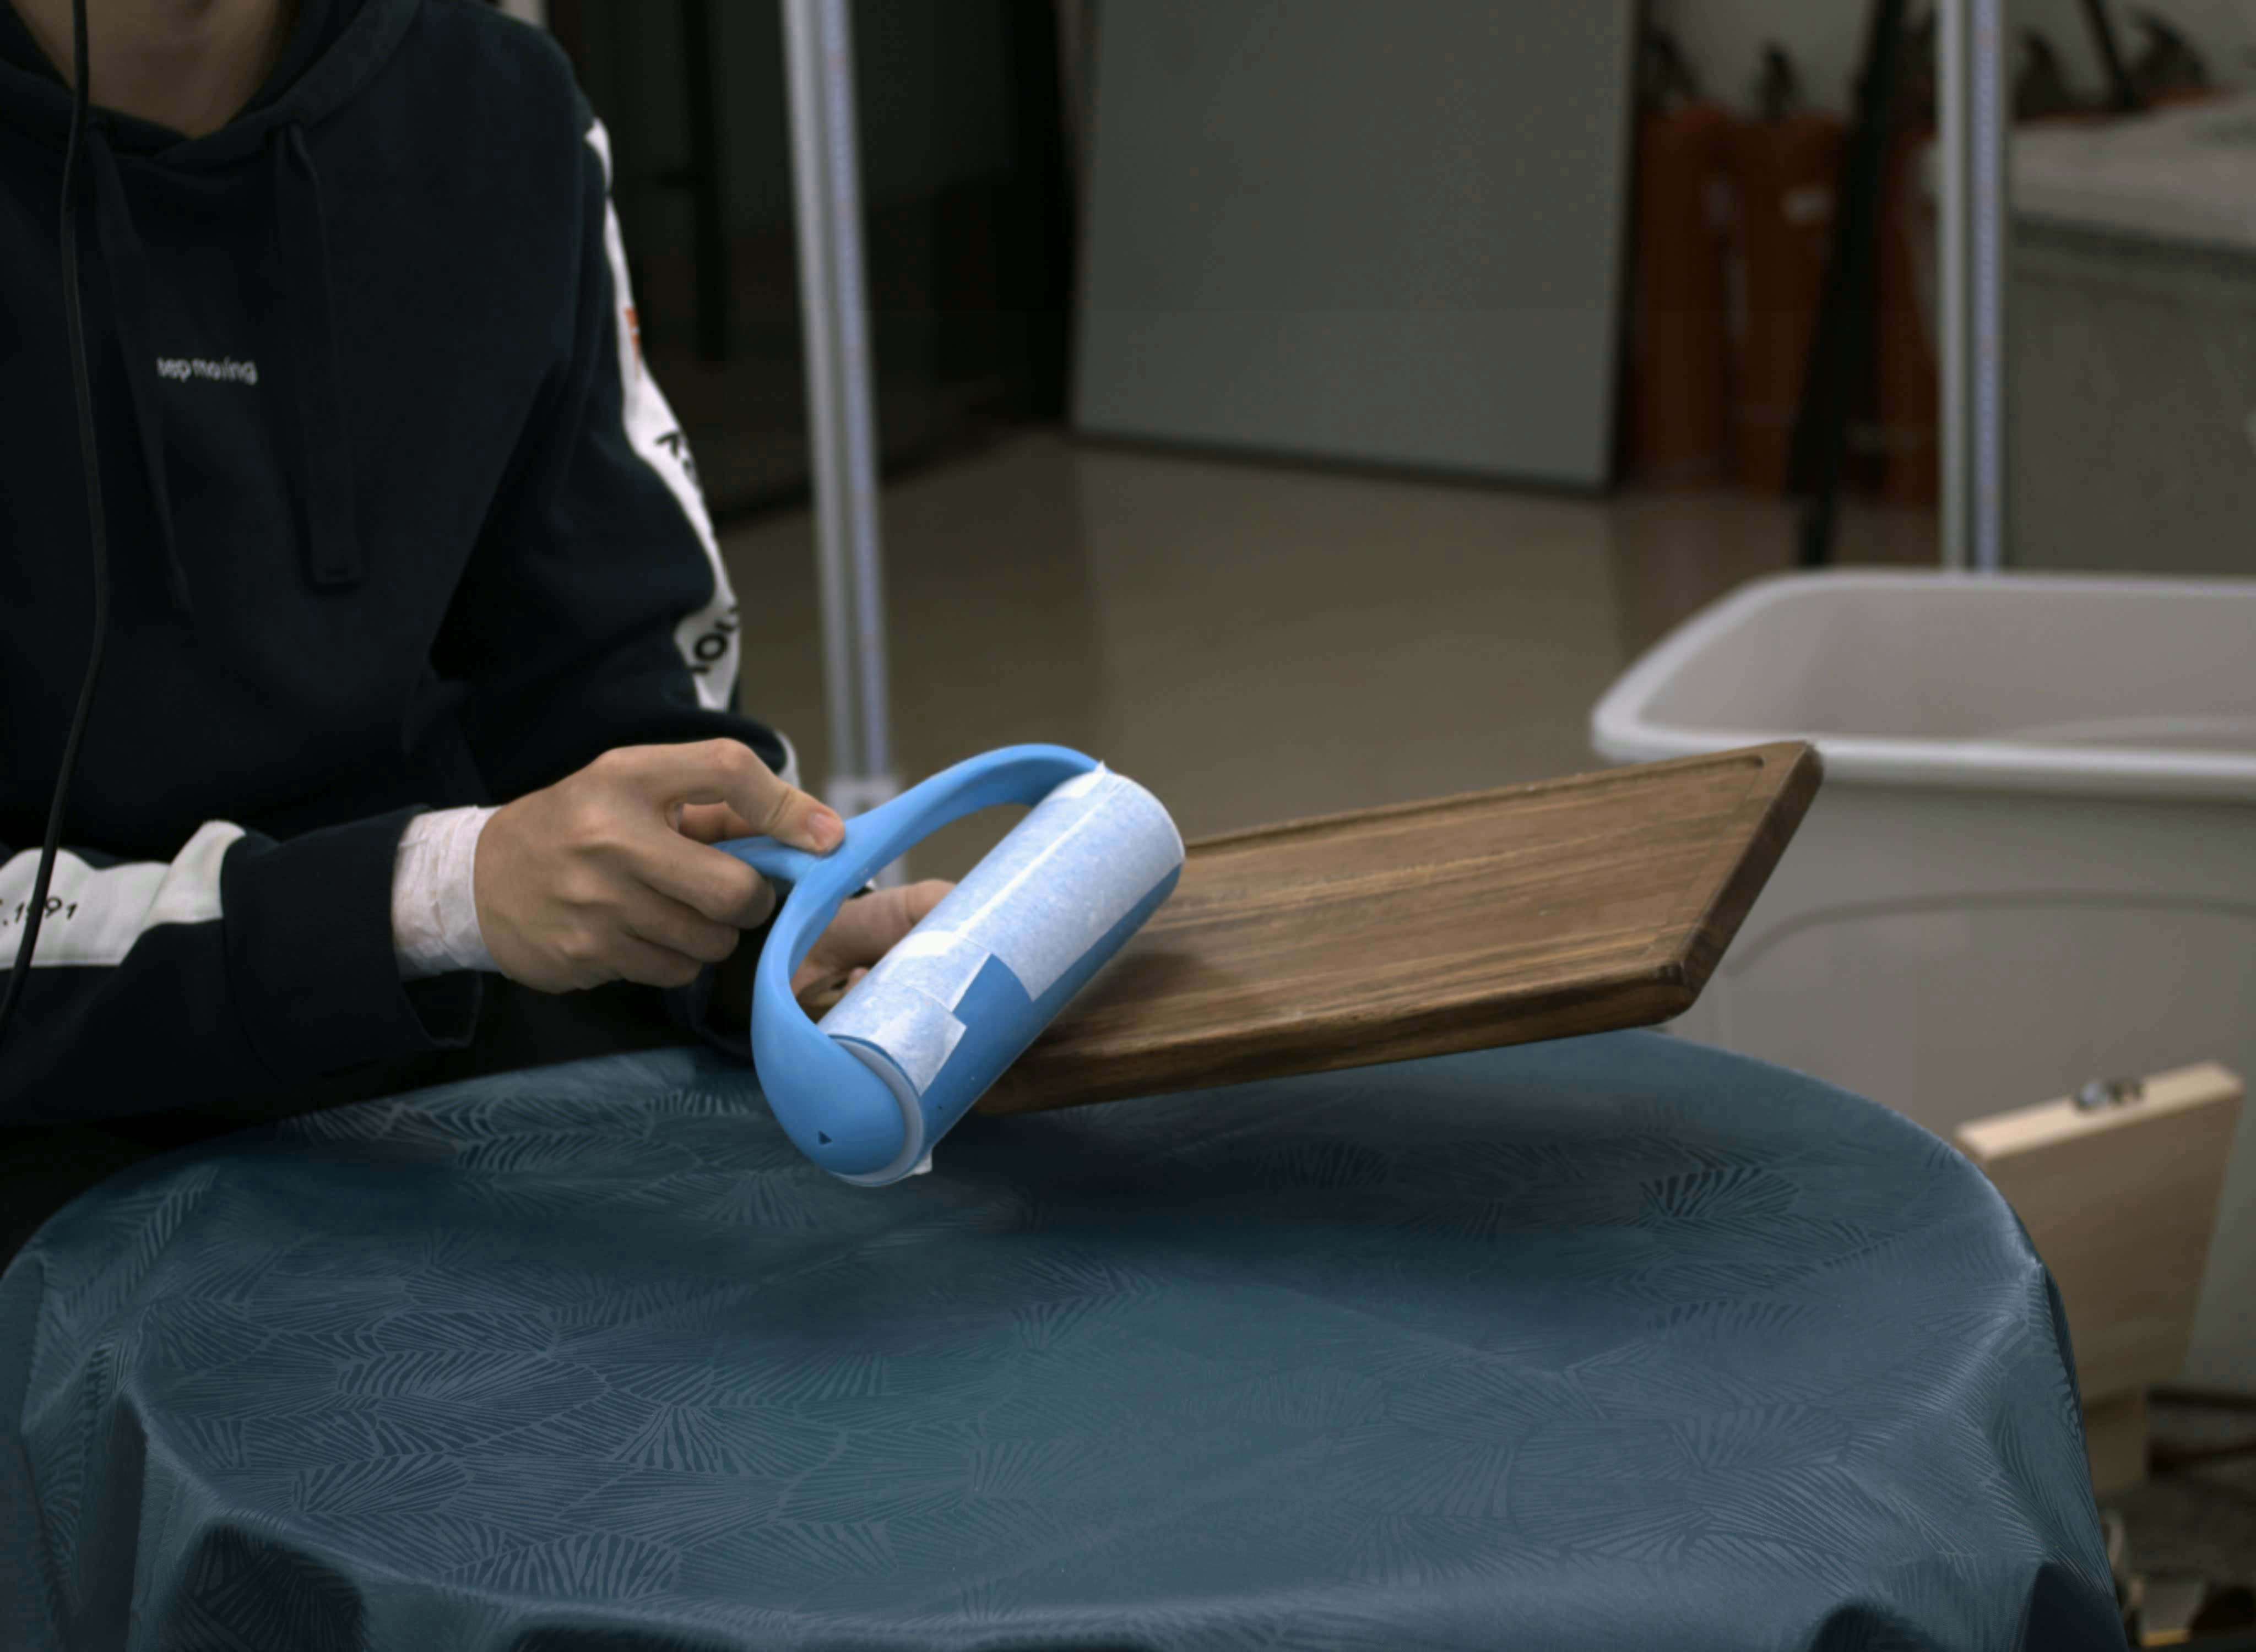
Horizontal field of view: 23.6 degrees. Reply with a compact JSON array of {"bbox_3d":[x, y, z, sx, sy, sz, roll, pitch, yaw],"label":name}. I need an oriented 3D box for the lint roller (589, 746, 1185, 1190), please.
[{"bbox_3d":[-0.098,0.035,1.762,0.180,0.068,0.227,11,32,20],"label":"lint roller"}]

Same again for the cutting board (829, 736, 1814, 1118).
[{"bbox_3d":[0.045,0.040,1.795,0.352,0.023,0.199,-10,18,25],"label":"cutting board"}]
